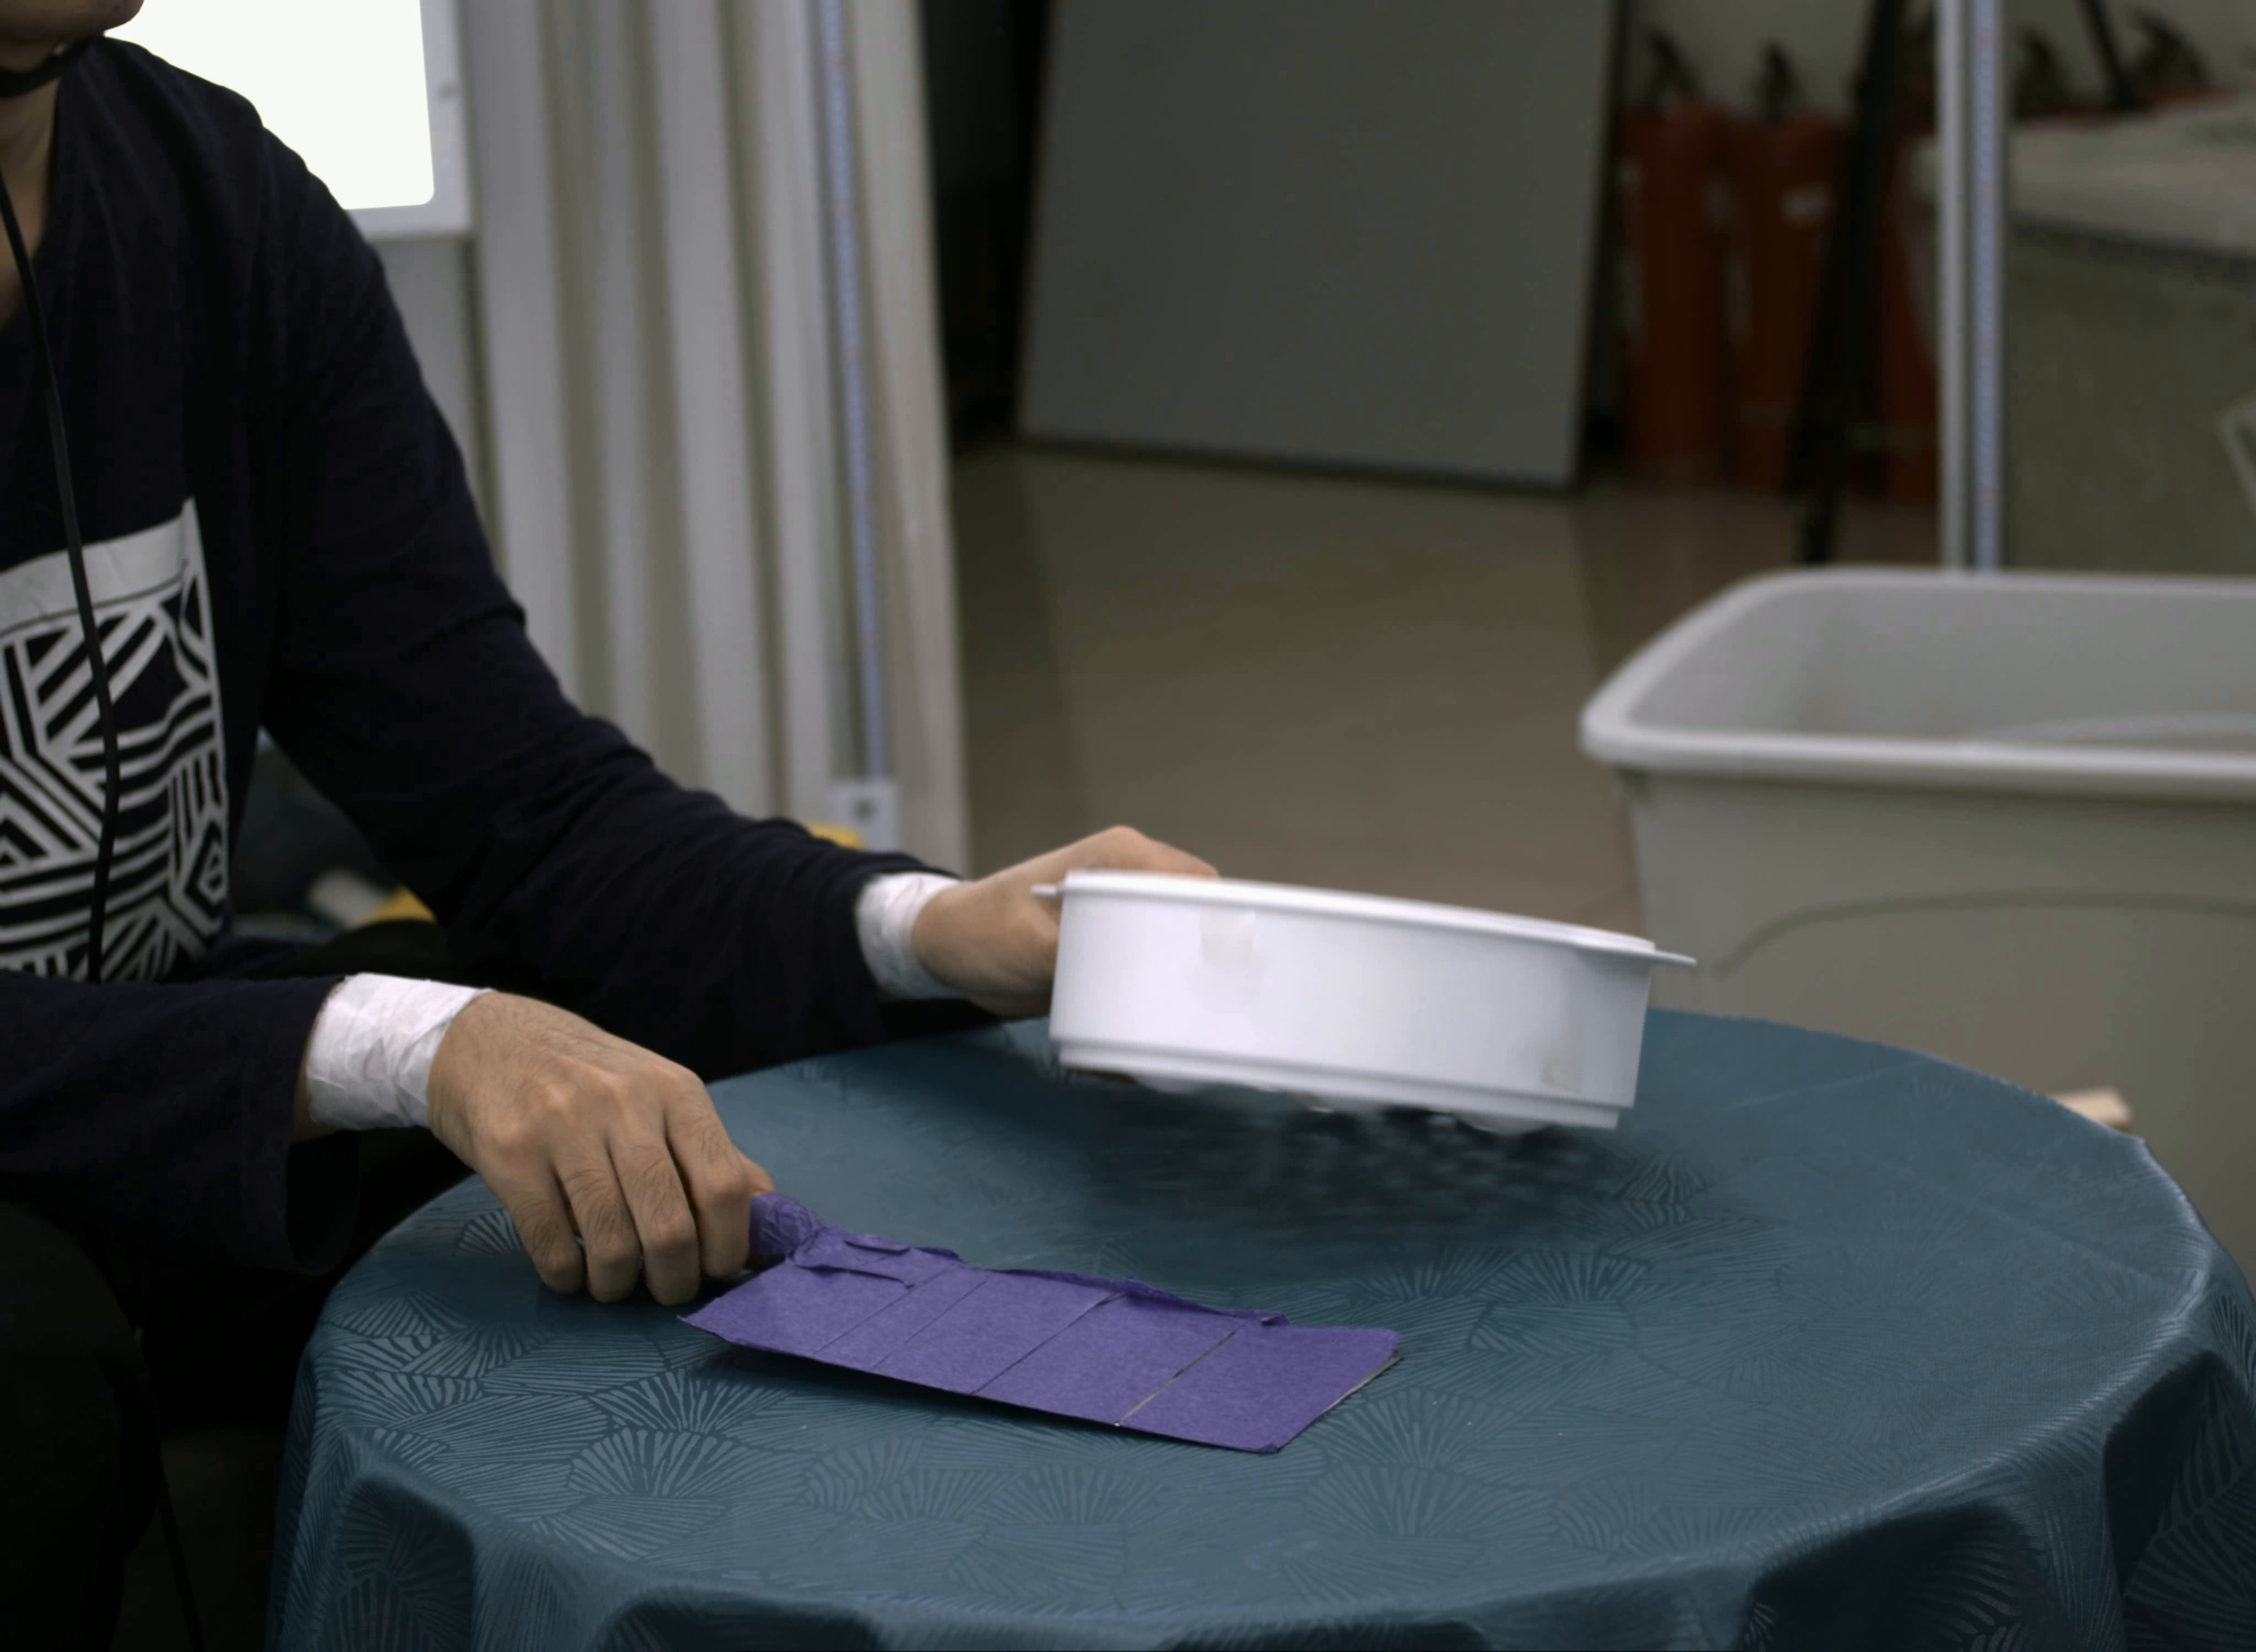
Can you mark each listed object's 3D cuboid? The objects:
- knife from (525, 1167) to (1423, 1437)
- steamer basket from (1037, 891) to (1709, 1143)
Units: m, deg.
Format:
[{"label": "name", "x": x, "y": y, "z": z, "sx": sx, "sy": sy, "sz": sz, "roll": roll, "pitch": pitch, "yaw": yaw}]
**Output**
[{"label": "knife", "x": -0.068, "y": 0.144, "z": 1.641, "sx": 0.316, "sy": 0.032, "sz": 0.102, "roll": 5, "pitch": 16, "yaw": 31}, {"label": "steamer basket", "x": 0.076, "y": 0.064, "z": 1.754, "sx": 0.231, "sy": 0.070, "sz": 0.198, "roll": 1, "pitch": -5, "yaw": 29}]
